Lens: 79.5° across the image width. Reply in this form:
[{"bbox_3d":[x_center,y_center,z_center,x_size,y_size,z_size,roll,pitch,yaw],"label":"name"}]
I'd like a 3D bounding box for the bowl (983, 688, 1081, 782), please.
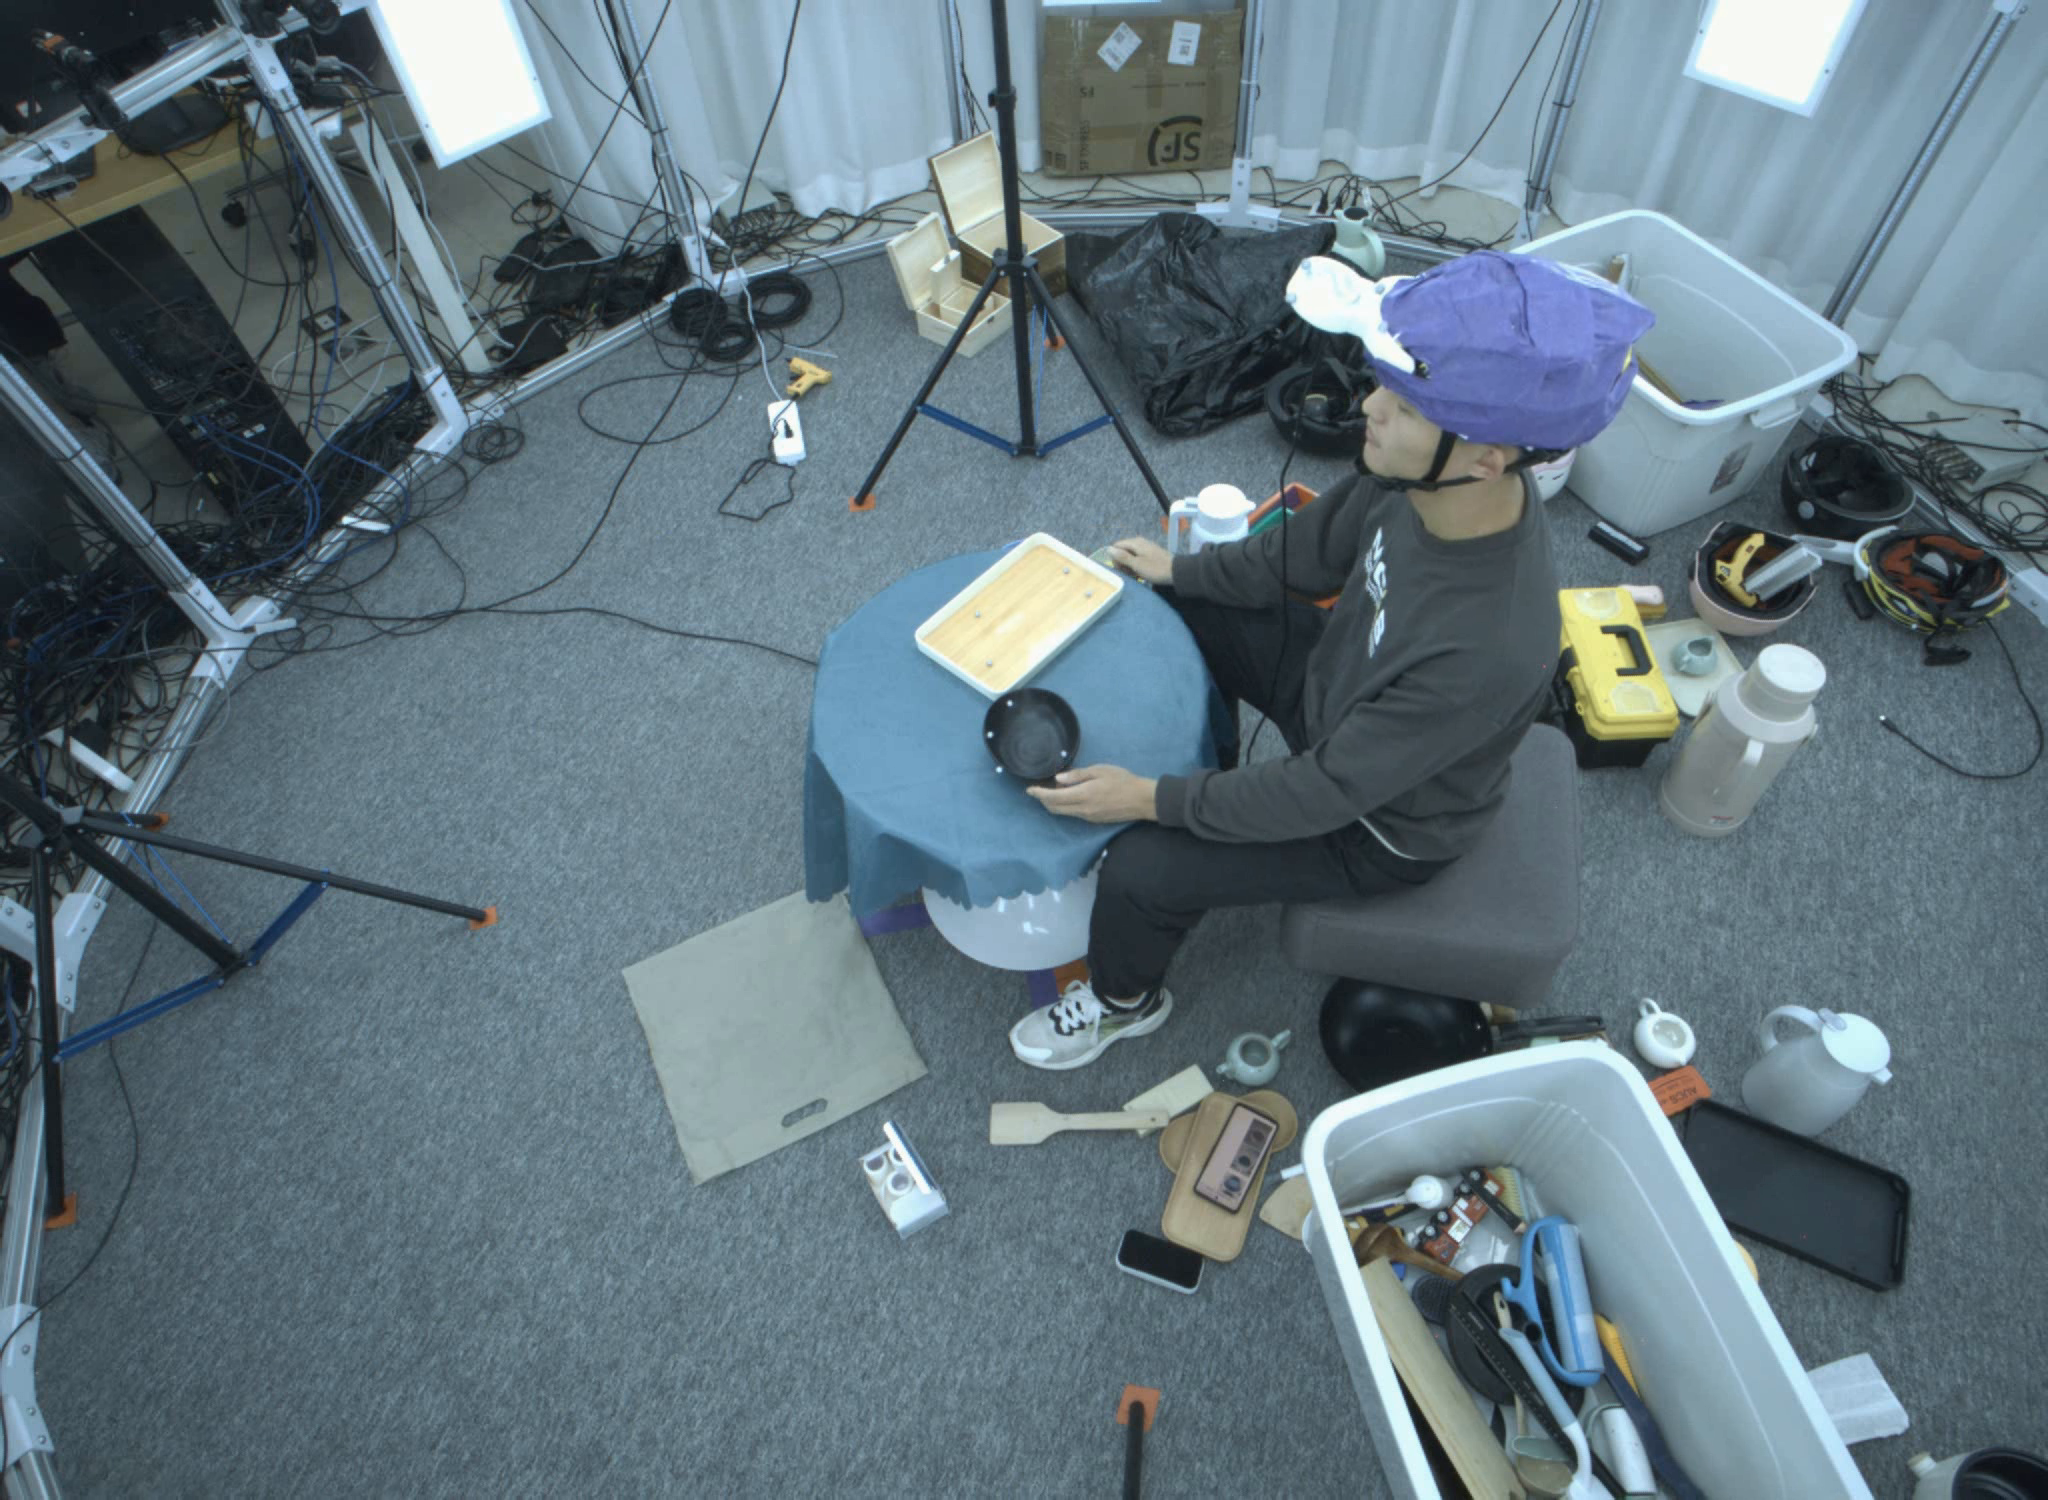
[{"bbox_3d":[0.011,-0.013,1.757,0.138,0.067,0.168,-9,53,-6],"label":"bowl"}]

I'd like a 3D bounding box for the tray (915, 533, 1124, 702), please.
[{"bbox_3d":[-0.005,-0.213,1.920,0.188,0.028,0.302,35,63,24],"label":"tray"}]
